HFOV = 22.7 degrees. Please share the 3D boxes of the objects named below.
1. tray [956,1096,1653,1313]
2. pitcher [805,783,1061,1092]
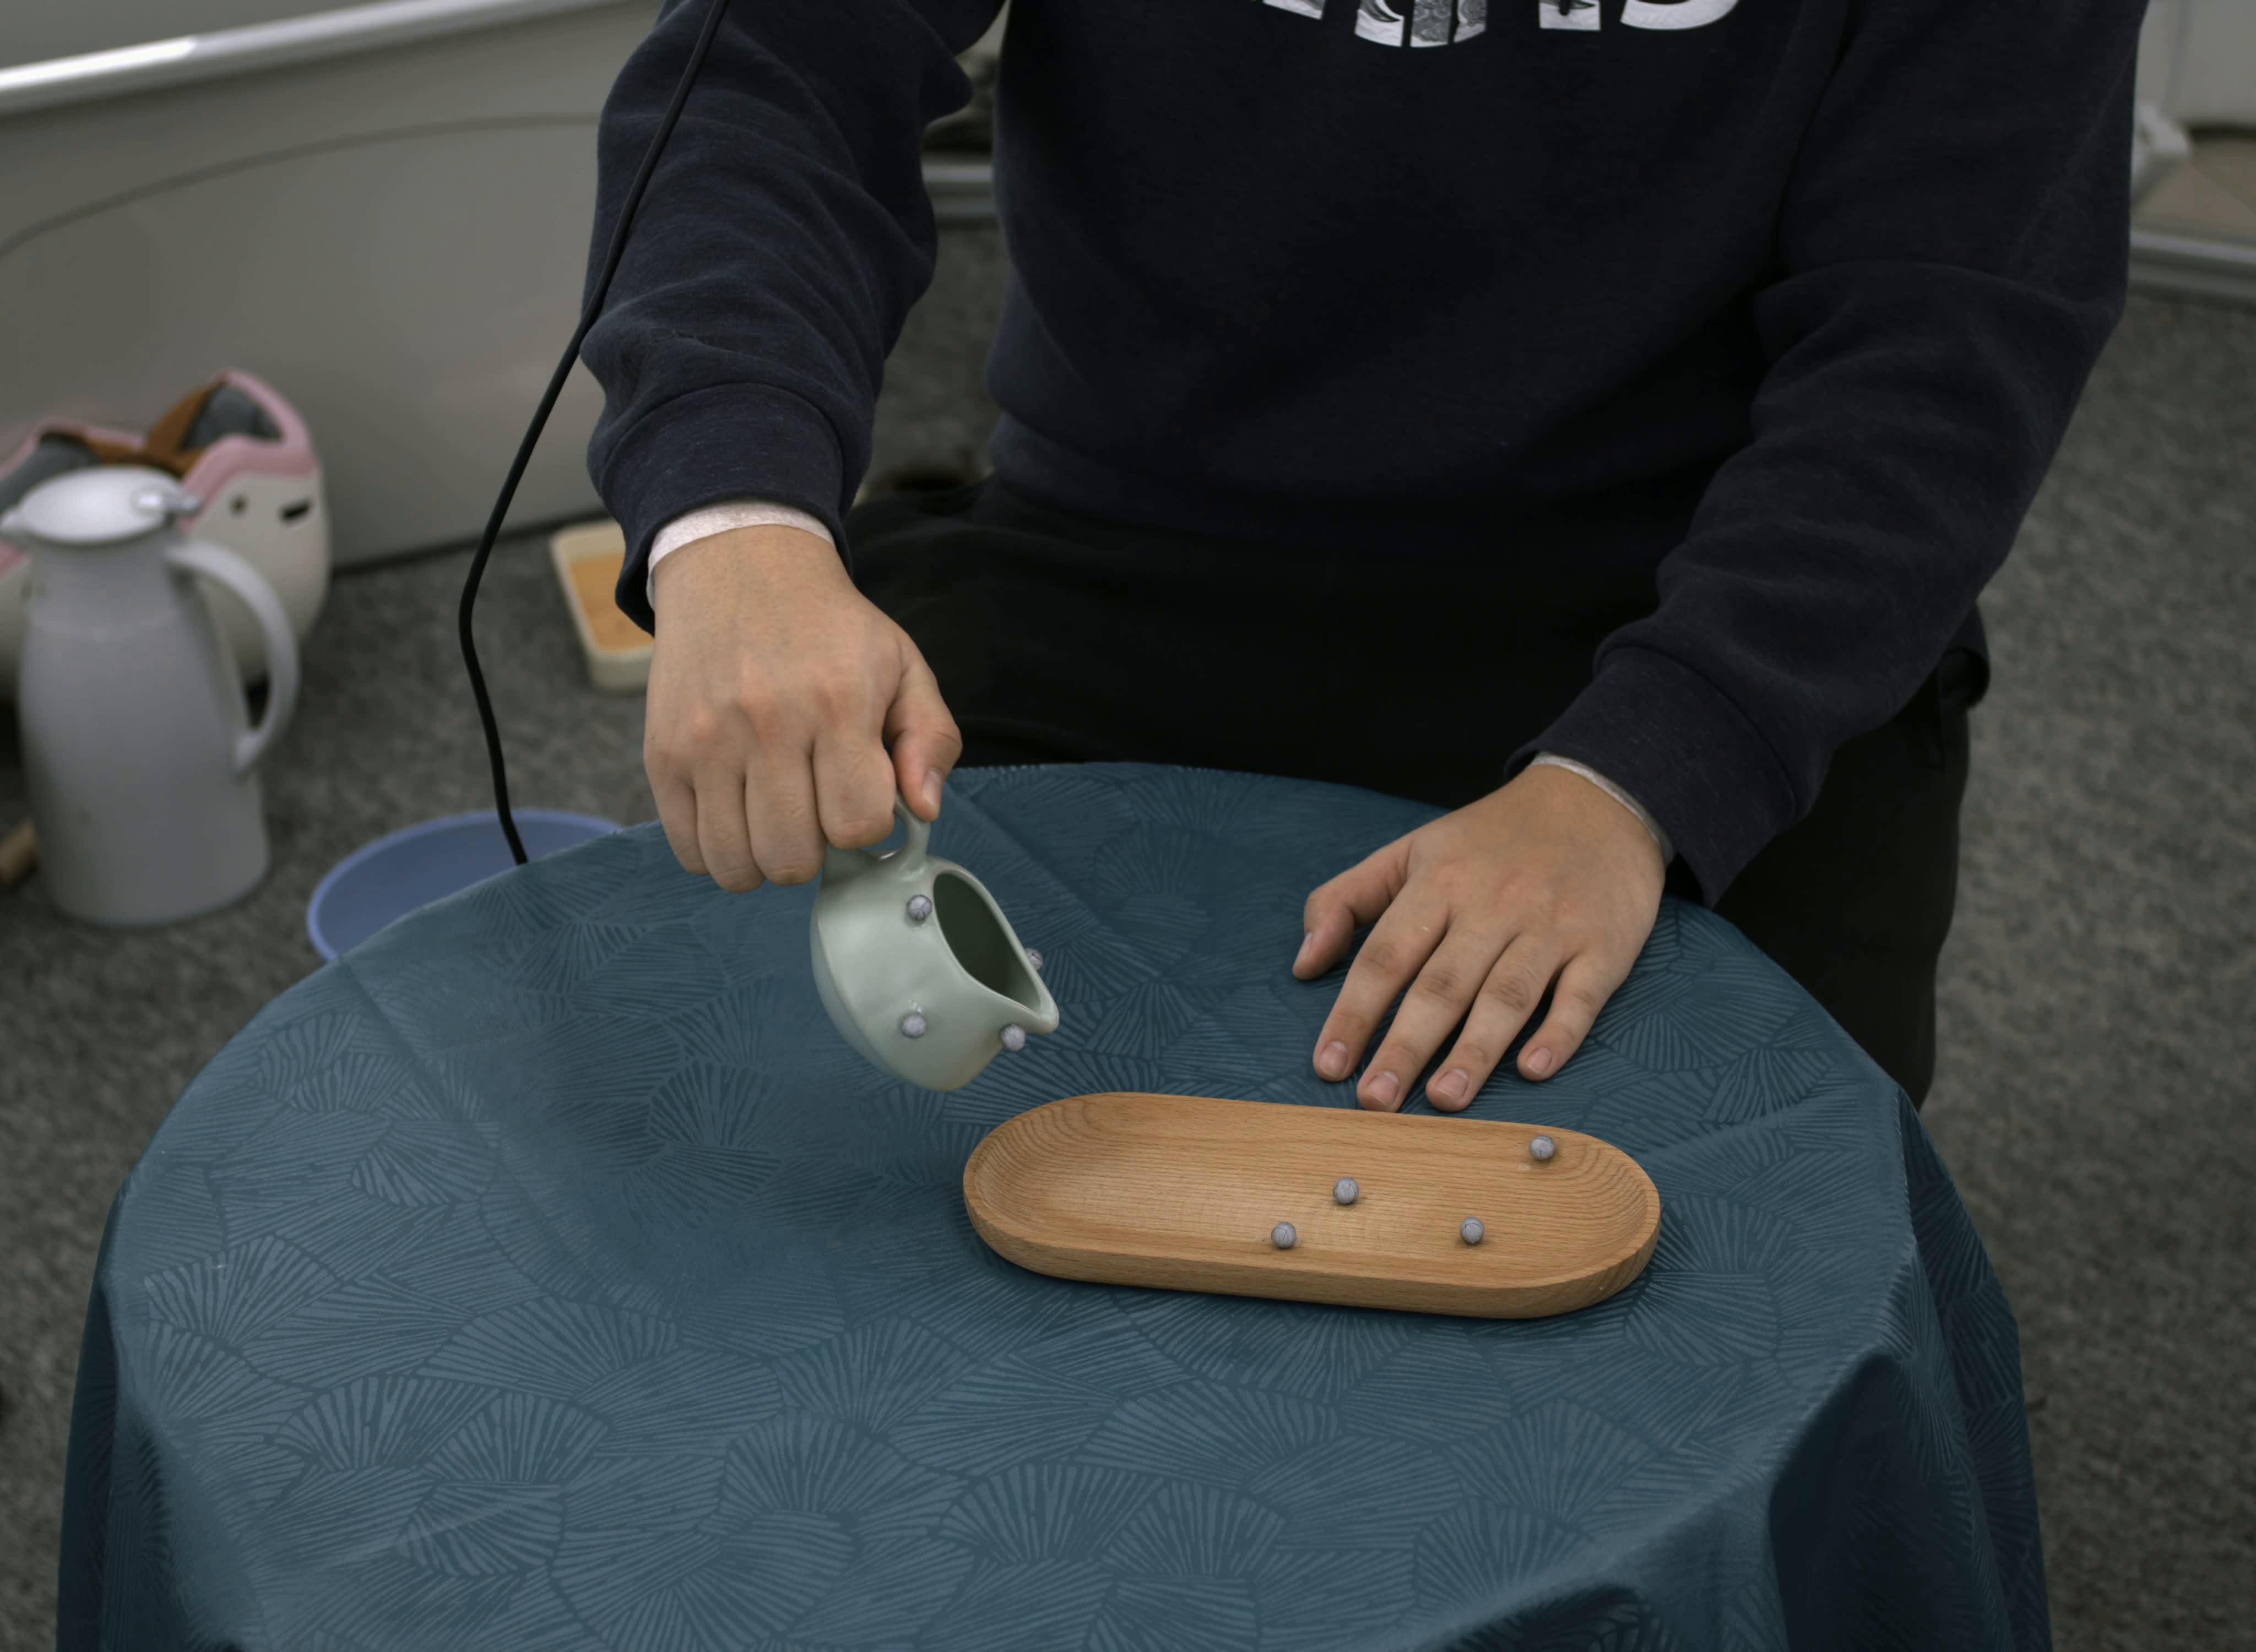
[{"bbox_3d":[0.057,0.124,1.838,0.229,0.020,0.103,2,26,13],"label":"tray"},{"bbox_3d":[-0.074,0.036,1.839,0.059,0.107,0.087,-30,16,24],"label":"pitcher"}]
